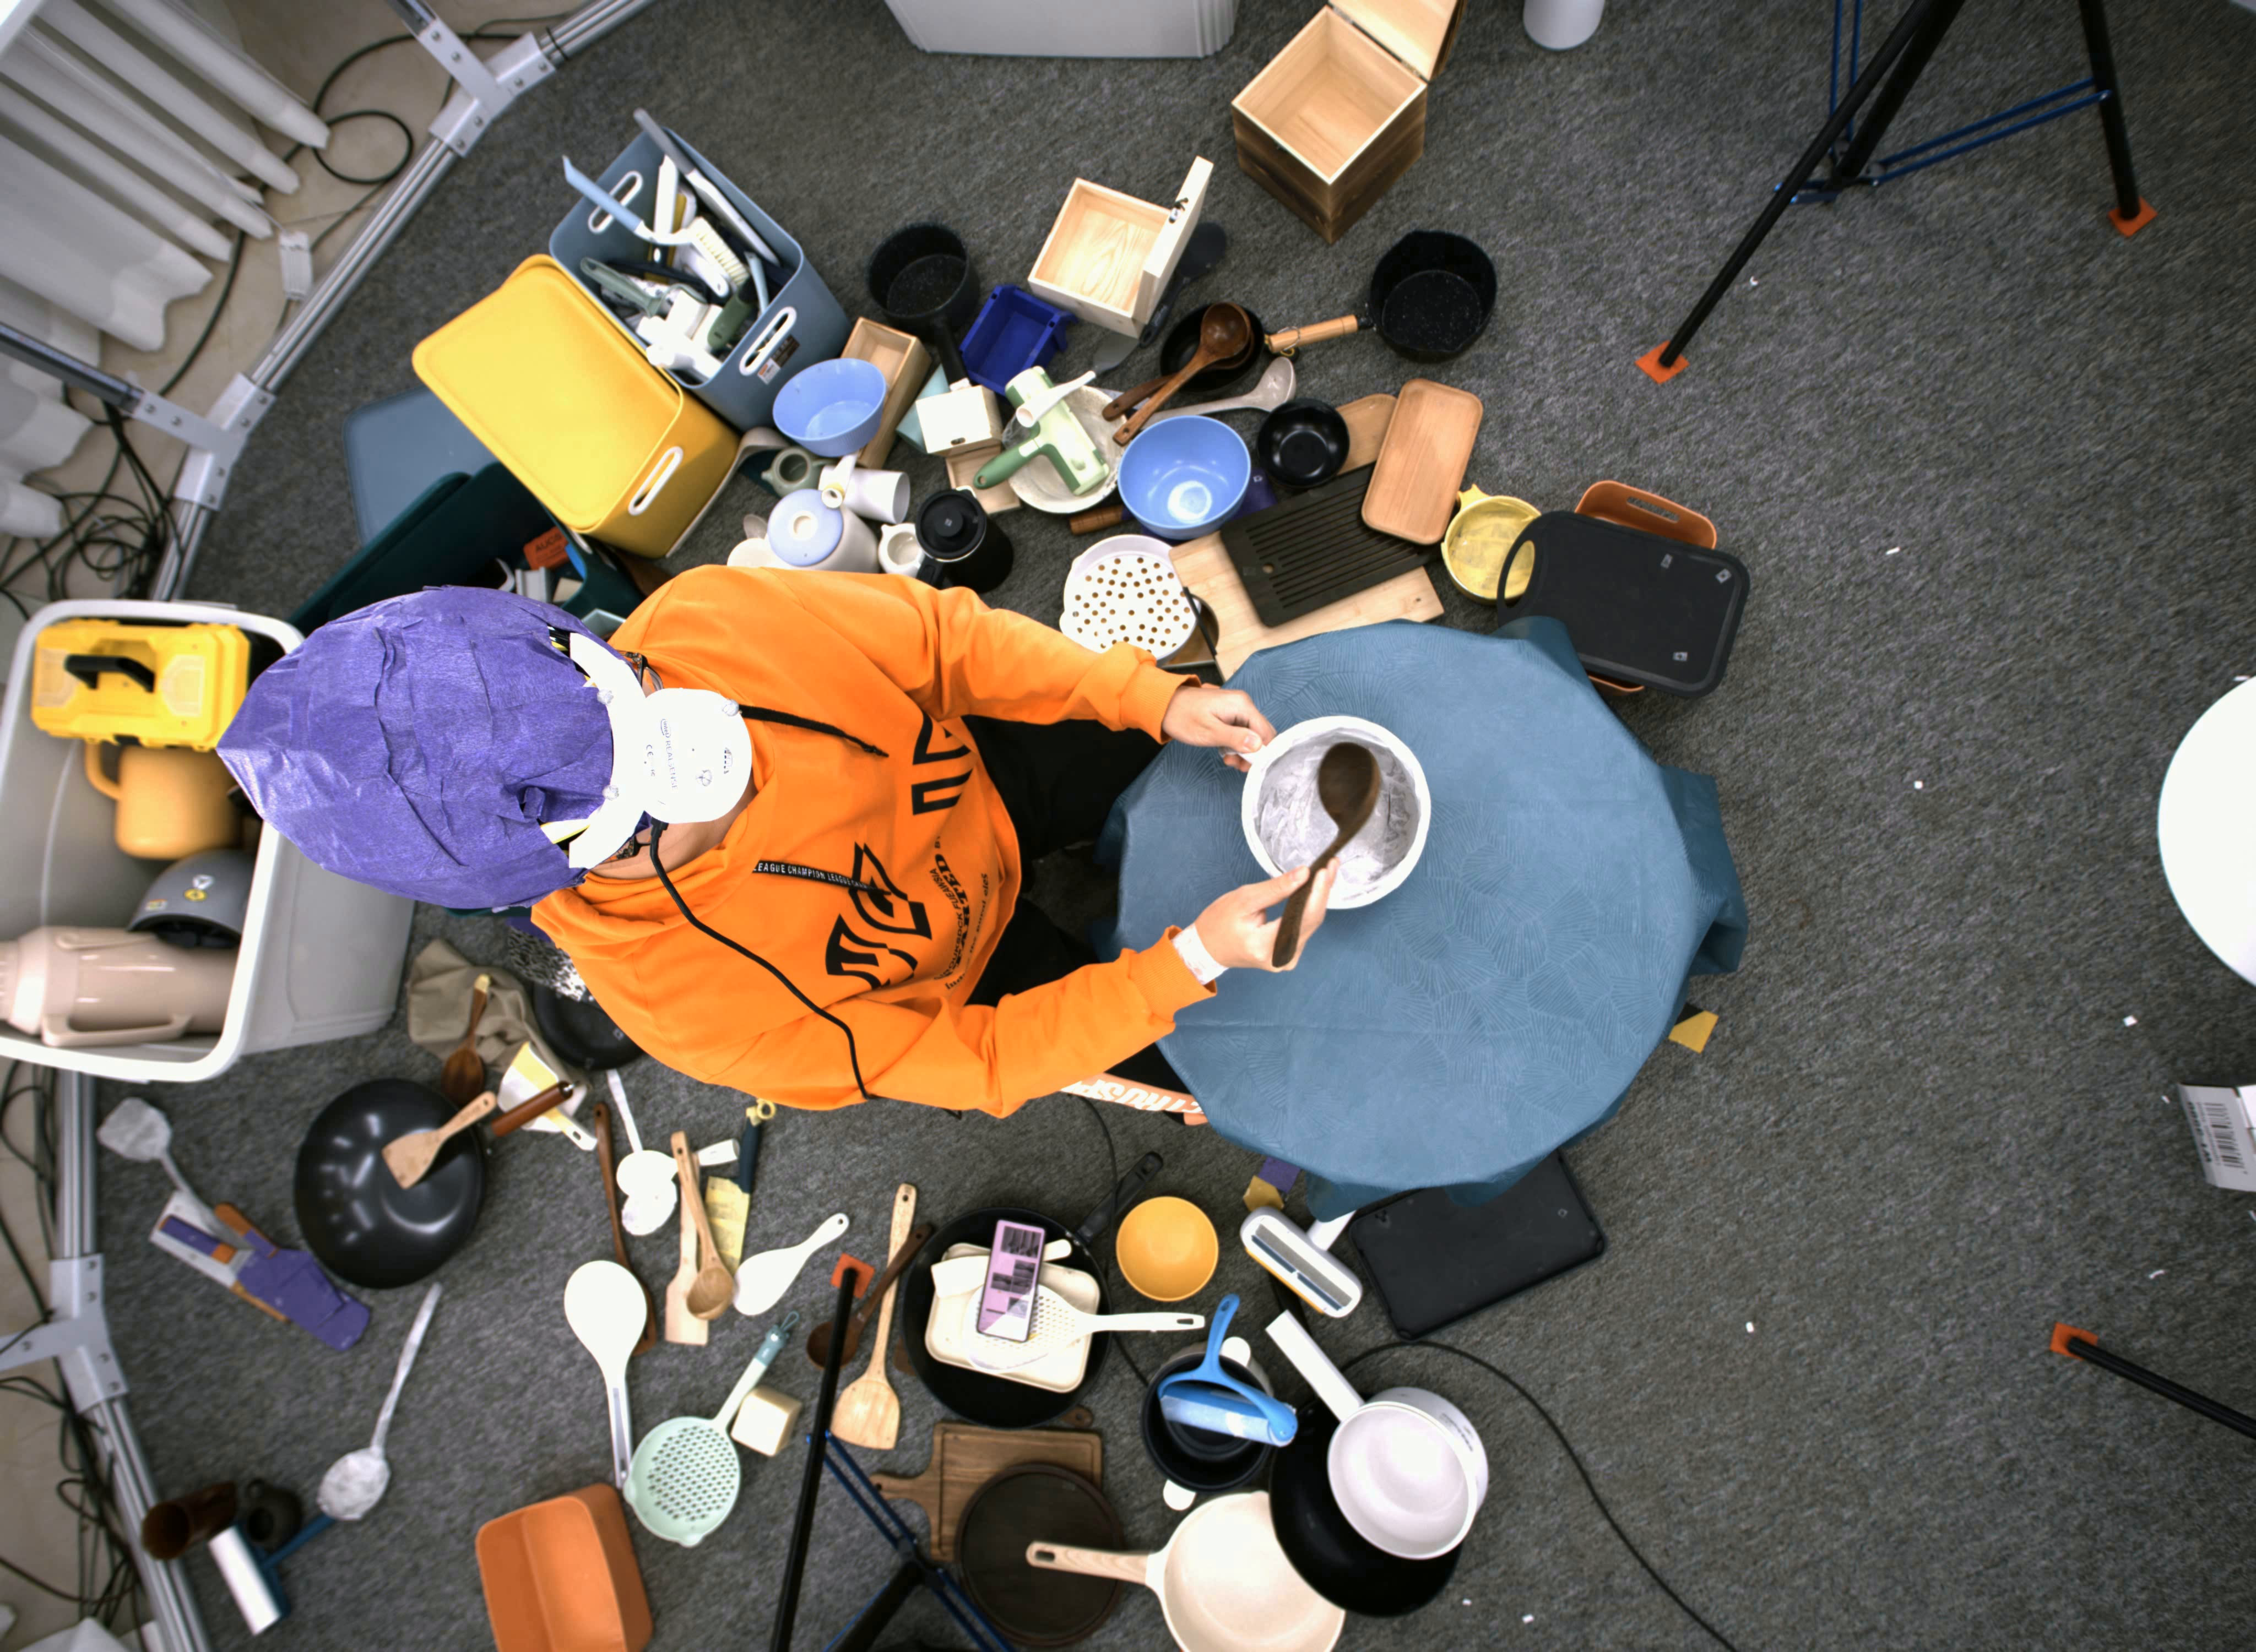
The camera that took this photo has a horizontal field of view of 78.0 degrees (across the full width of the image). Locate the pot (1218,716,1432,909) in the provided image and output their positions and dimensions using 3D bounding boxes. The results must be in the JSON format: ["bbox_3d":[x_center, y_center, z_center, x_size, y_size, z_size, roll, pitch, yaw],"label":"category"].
[{"bbox_3d":[0.184,-0.026,1.362,0.233,0.137,0.179,36,92,12],"label":"pot"}]

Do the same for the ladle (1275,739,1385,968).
[{"bbox_3d":[0.164,0.015,1.226,0.071,0.267,0.078,42,136,-4],"label":"ladle"}]
